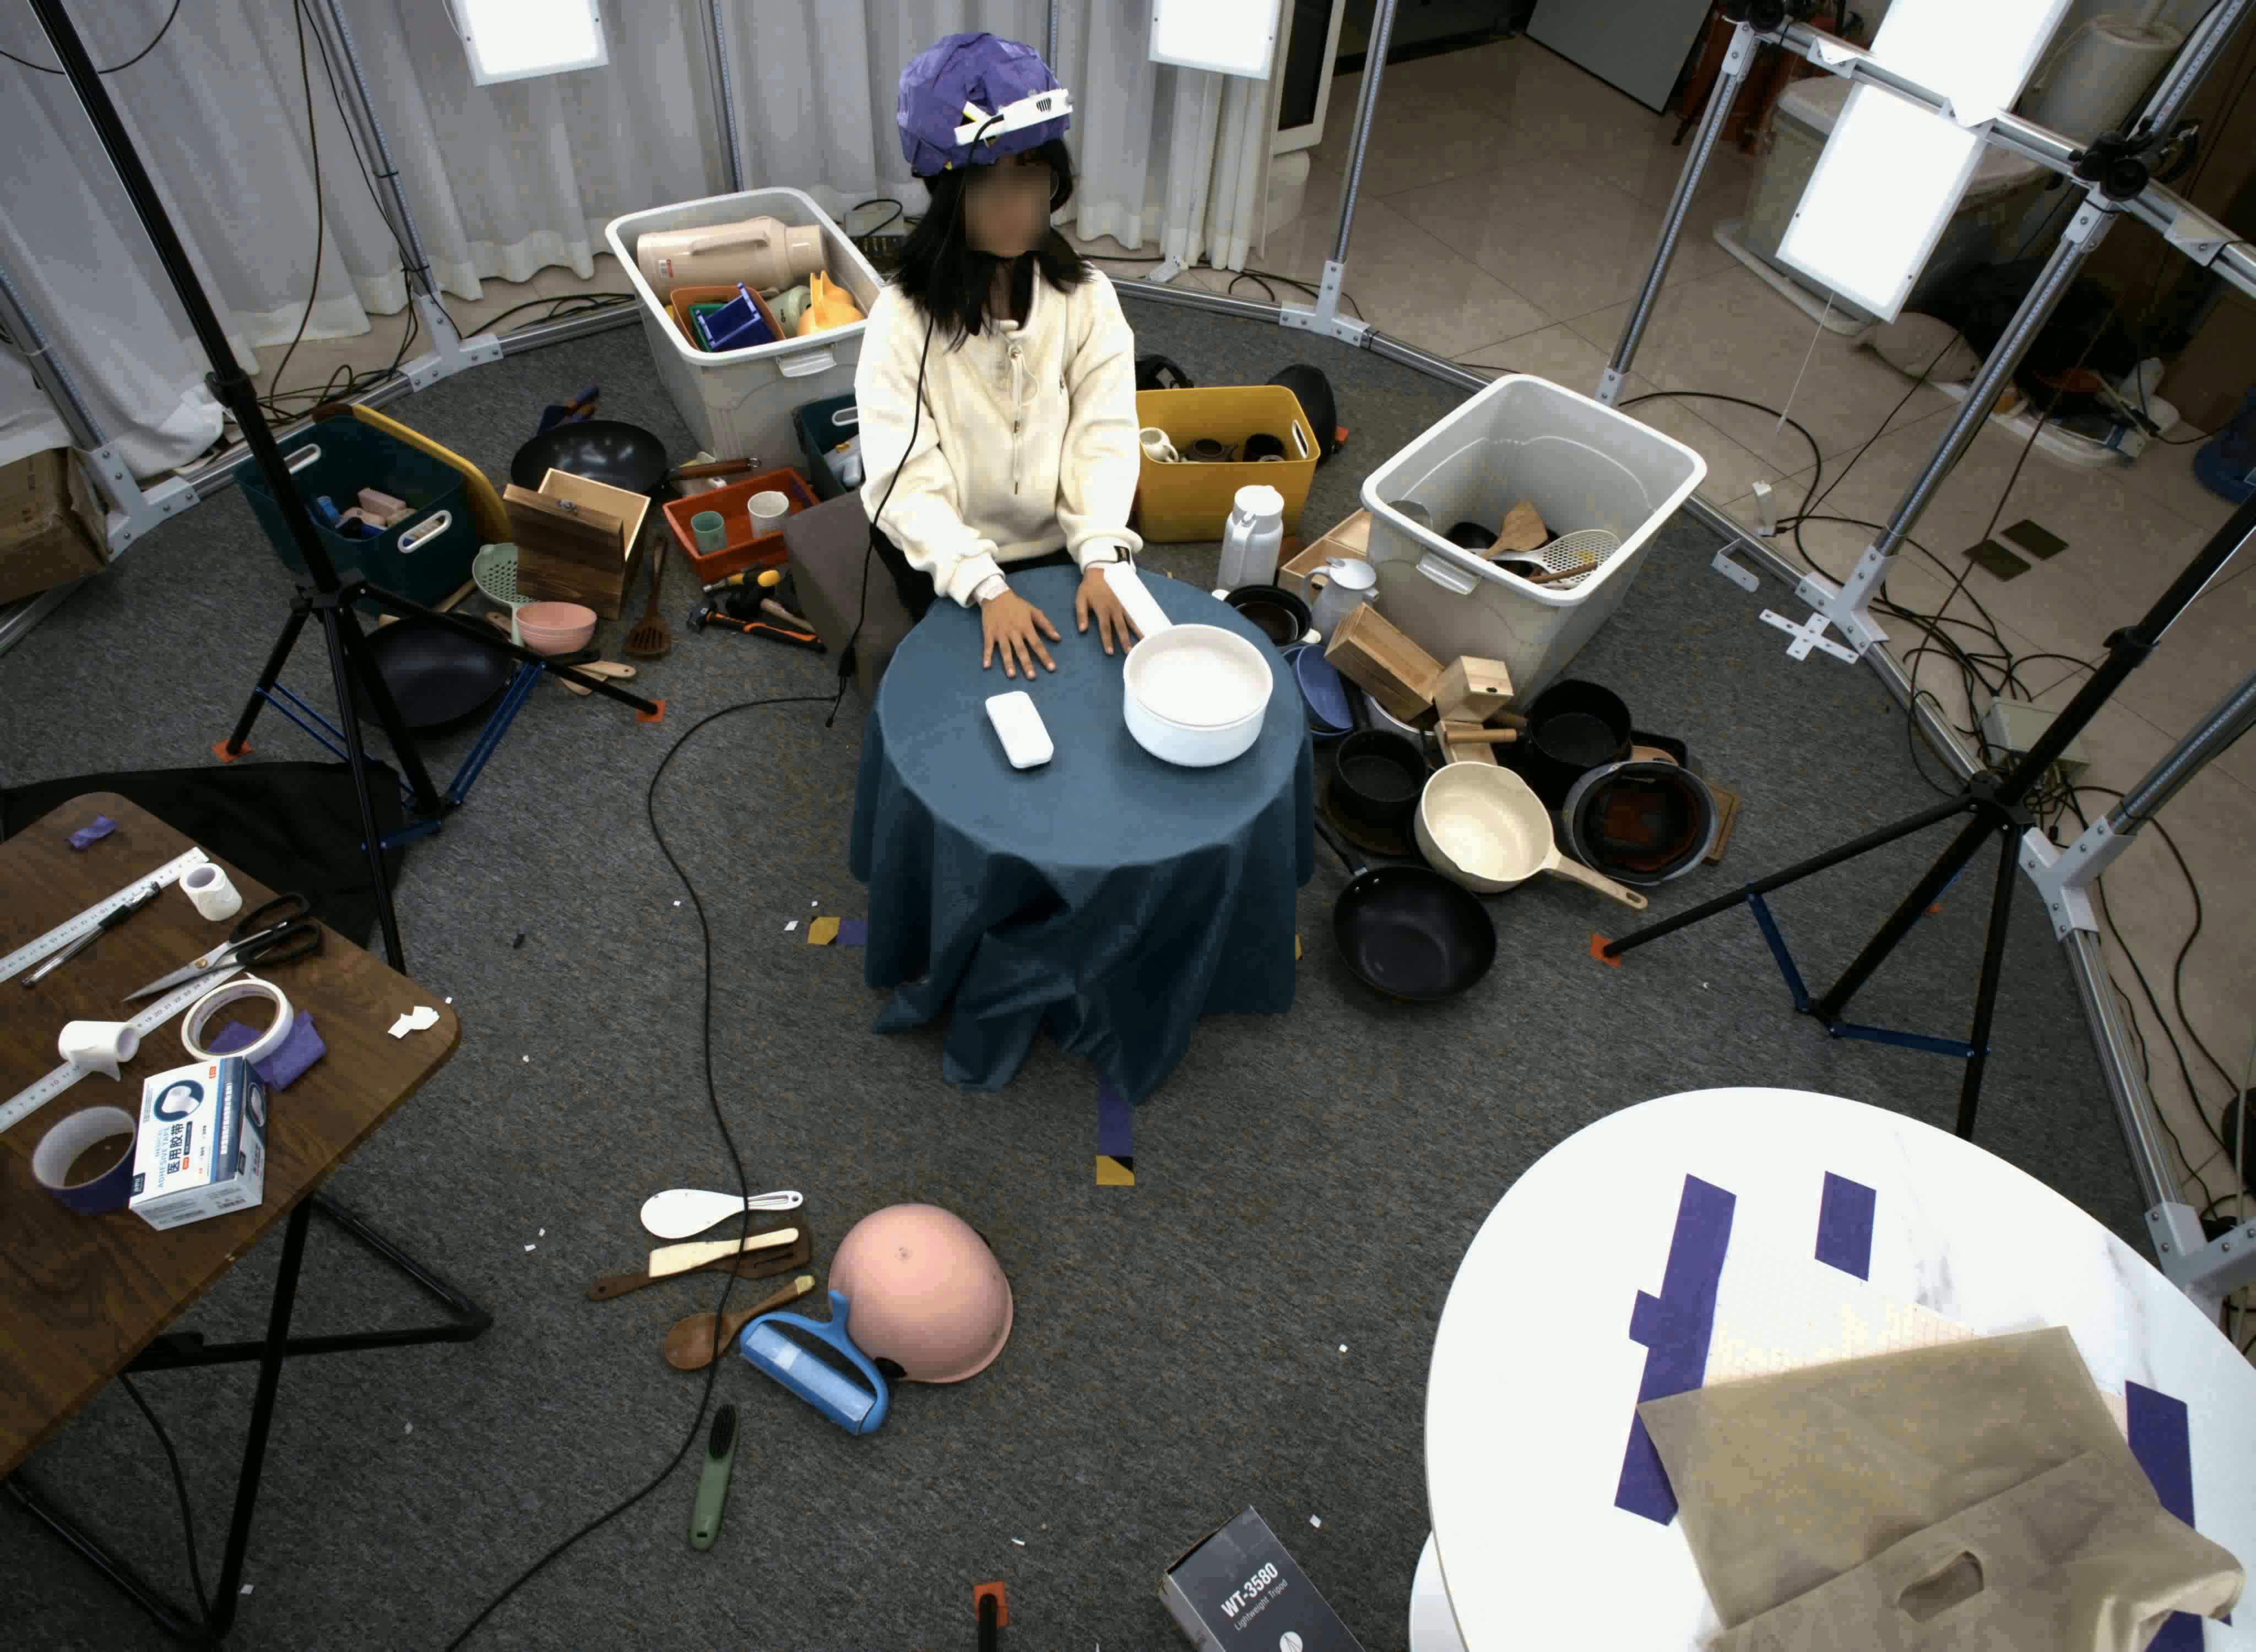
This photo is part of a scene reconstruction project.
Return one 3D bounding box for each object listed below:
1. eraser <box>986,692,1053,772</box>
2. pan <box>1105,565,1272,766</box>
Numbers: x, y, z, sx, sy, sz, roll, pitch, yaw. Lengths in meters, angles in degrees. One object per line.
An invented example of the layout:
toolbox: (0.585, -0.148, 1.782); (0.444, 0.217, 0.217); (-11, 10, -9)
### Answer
eraser: (-0.149, -0.132, 1.755); (0.063, 0.034, 0.134); (-13, 52, -18)
pan: (0.057, -0.227, 1.808); (0.201, 0.099, 0.363); (-18, 50, -20)
